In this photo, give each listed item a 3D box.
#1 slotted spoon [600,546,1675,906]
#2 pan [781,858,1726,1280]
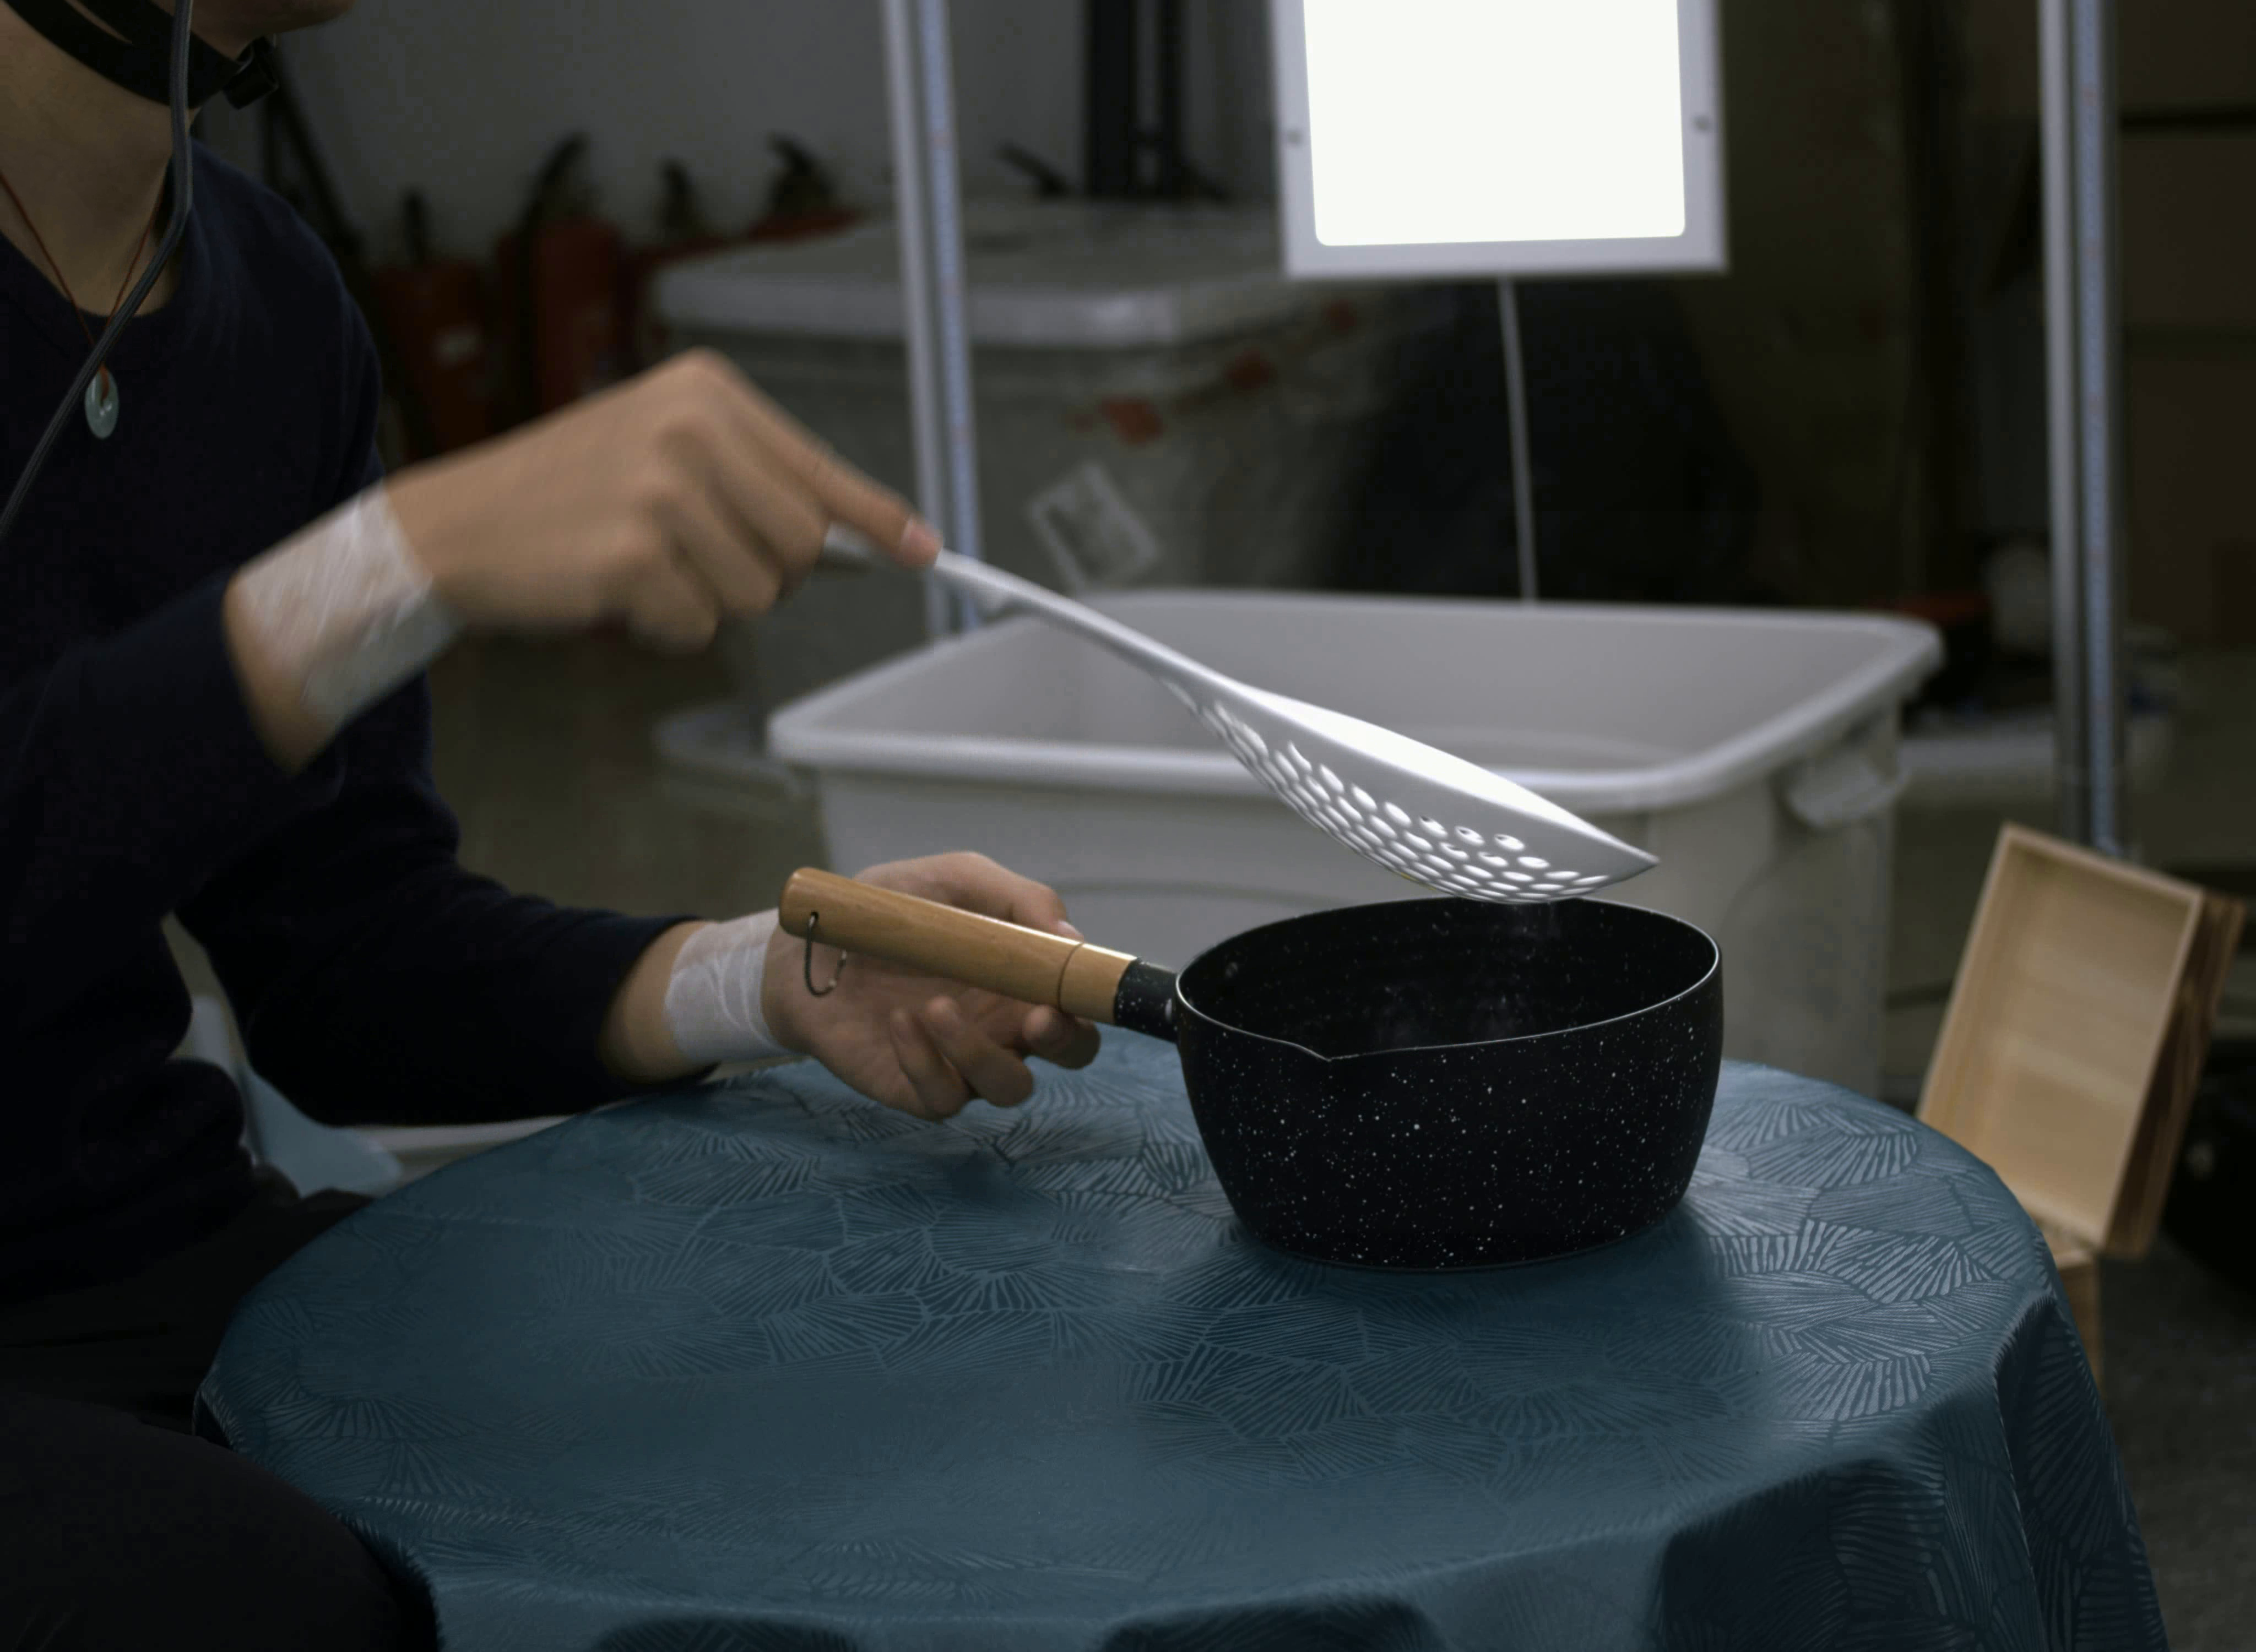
[{"bbox_3d":[0.004,-0.040,1.670,0.343,0.050,0.138,23,5,-18],"label":"slotted spoon"},{"bbox_3d":[0.036,0.073,1.874,0.348,0.108,0.203,3,17,25],"label":"pan"}]
